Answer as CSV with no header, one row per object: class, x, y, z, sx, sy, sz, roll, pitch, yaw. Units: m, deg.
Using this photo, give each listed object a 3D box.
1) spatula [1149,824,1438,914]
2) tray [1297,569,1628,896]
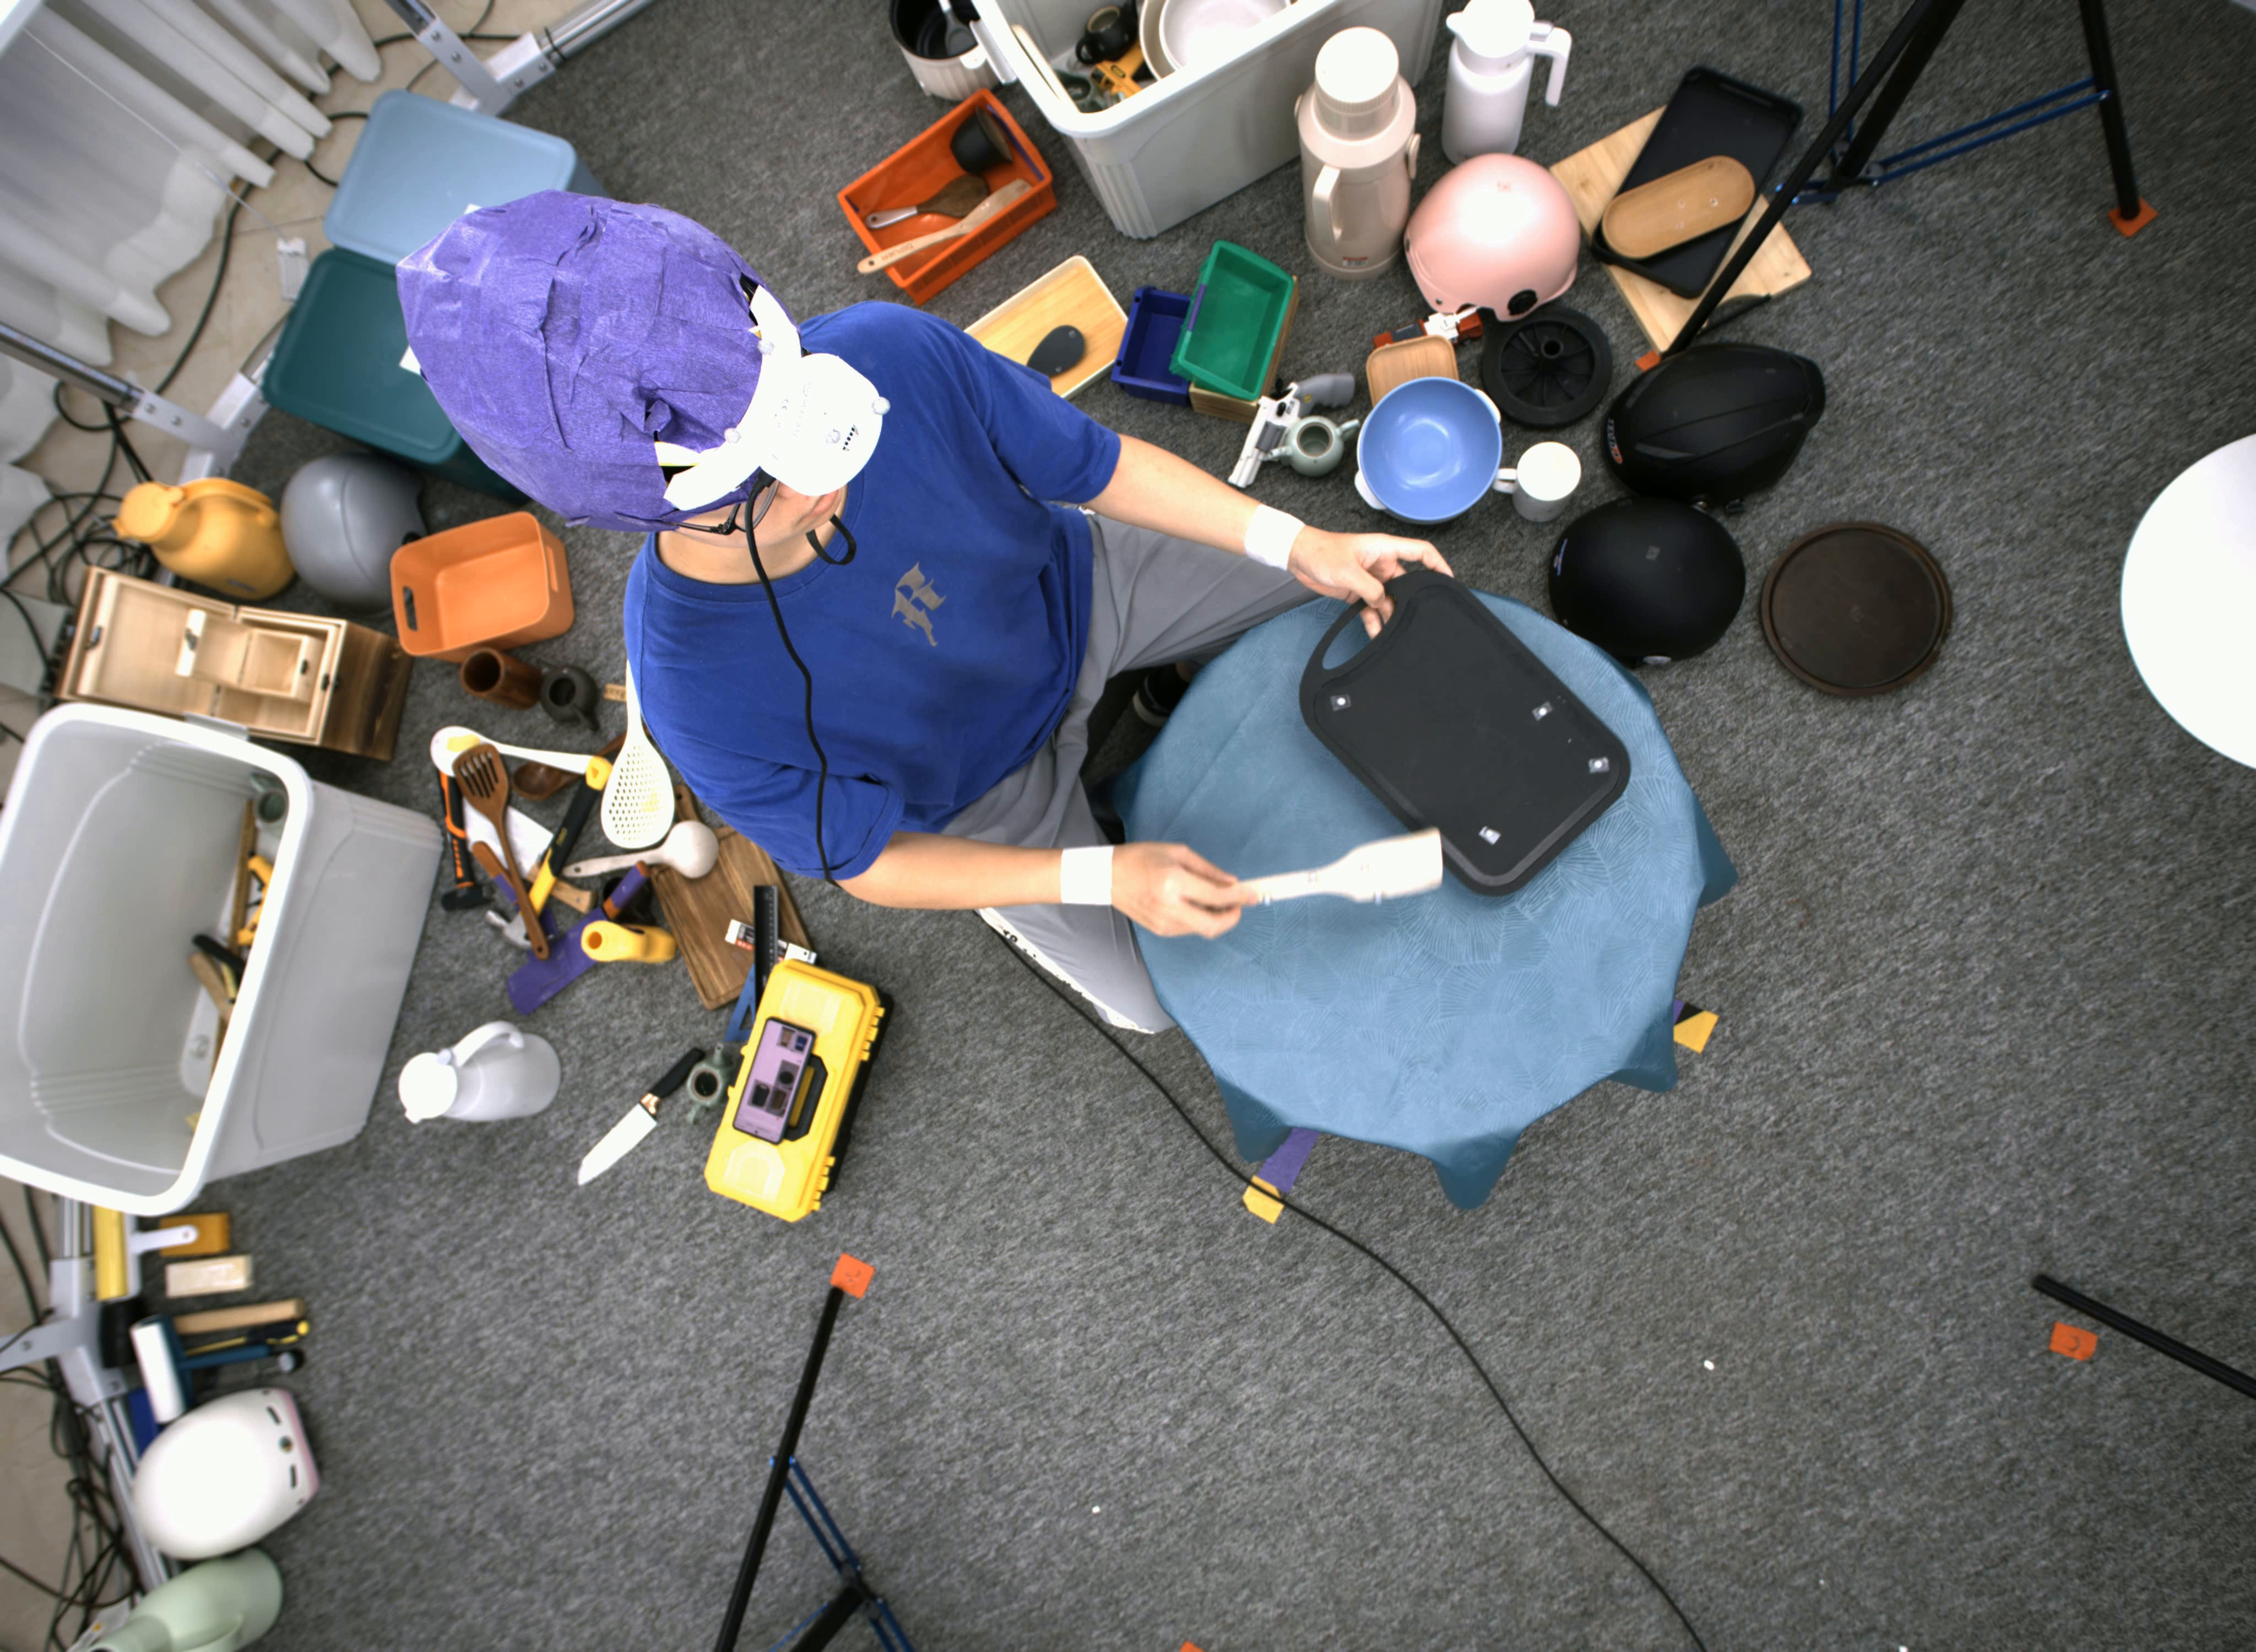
spatula,0.158,0.050,1.356,0.295,0.070,0.011,-13,125,18
tray,0.326,-0.099,1.371,0.214,0.009,0.325,-44,89,16
